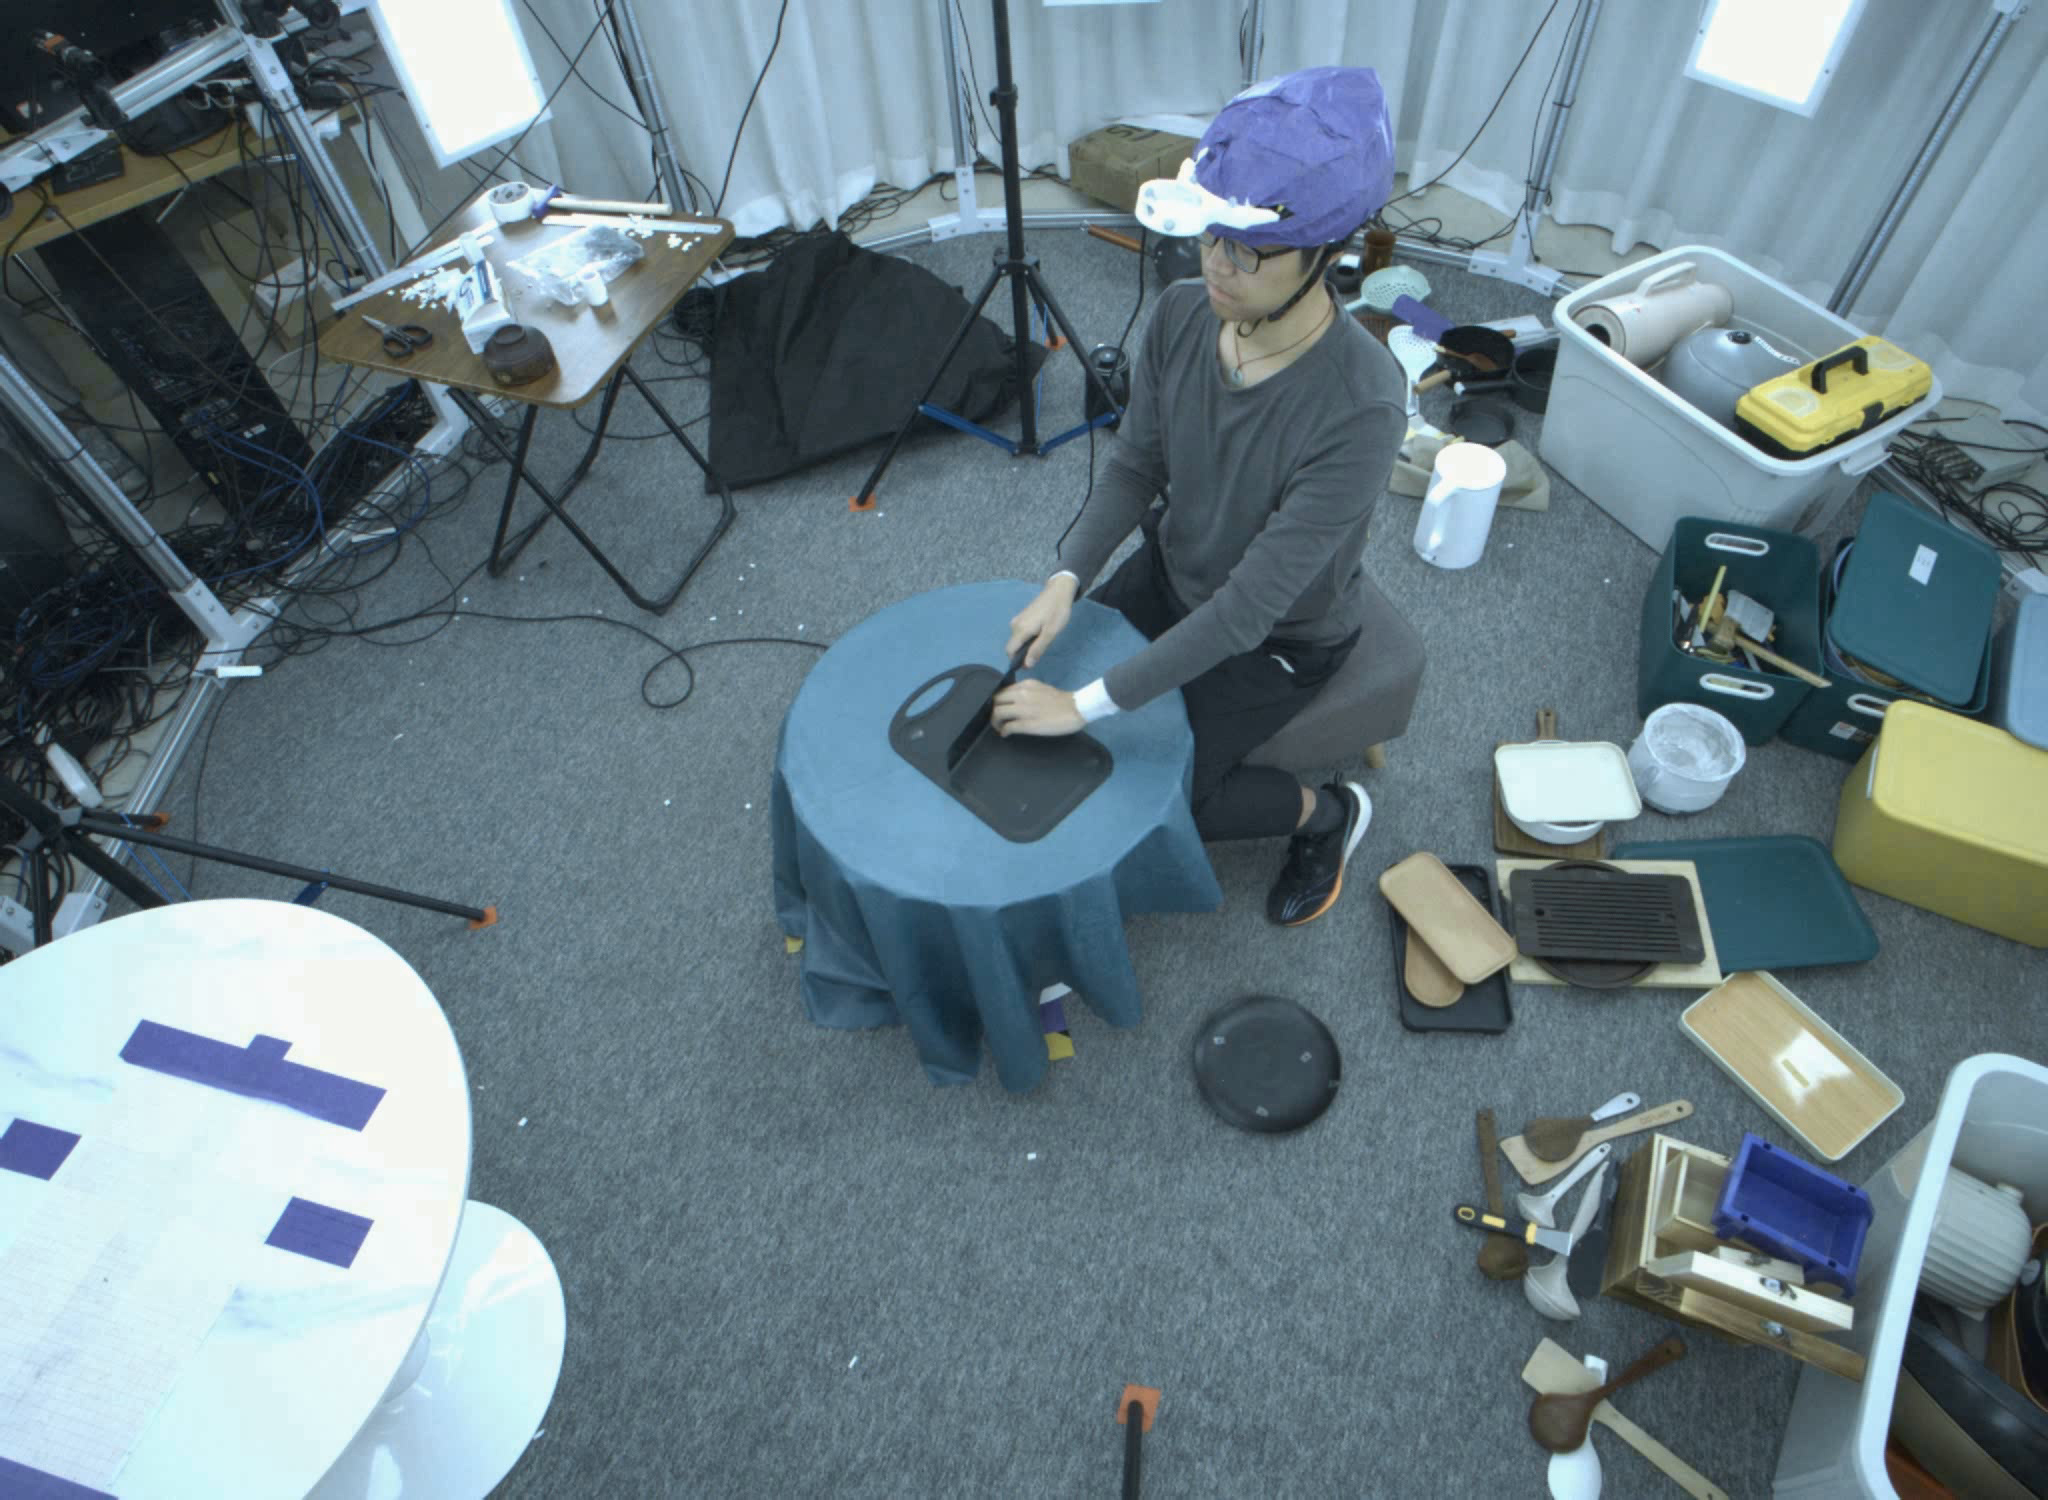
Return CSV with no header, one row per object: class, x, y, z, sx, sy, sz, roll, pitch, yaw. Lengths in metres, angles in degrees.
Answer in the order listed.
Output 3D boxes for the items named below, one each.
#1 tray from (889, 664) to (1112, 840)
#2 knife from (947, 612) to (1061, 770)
tray,-0.044,-0.009,1.799,0.319,0.010,0.212,37,63,25
knife,-0.030,-0.093,1.805,0.020,0.081,0.303,28,64,16
